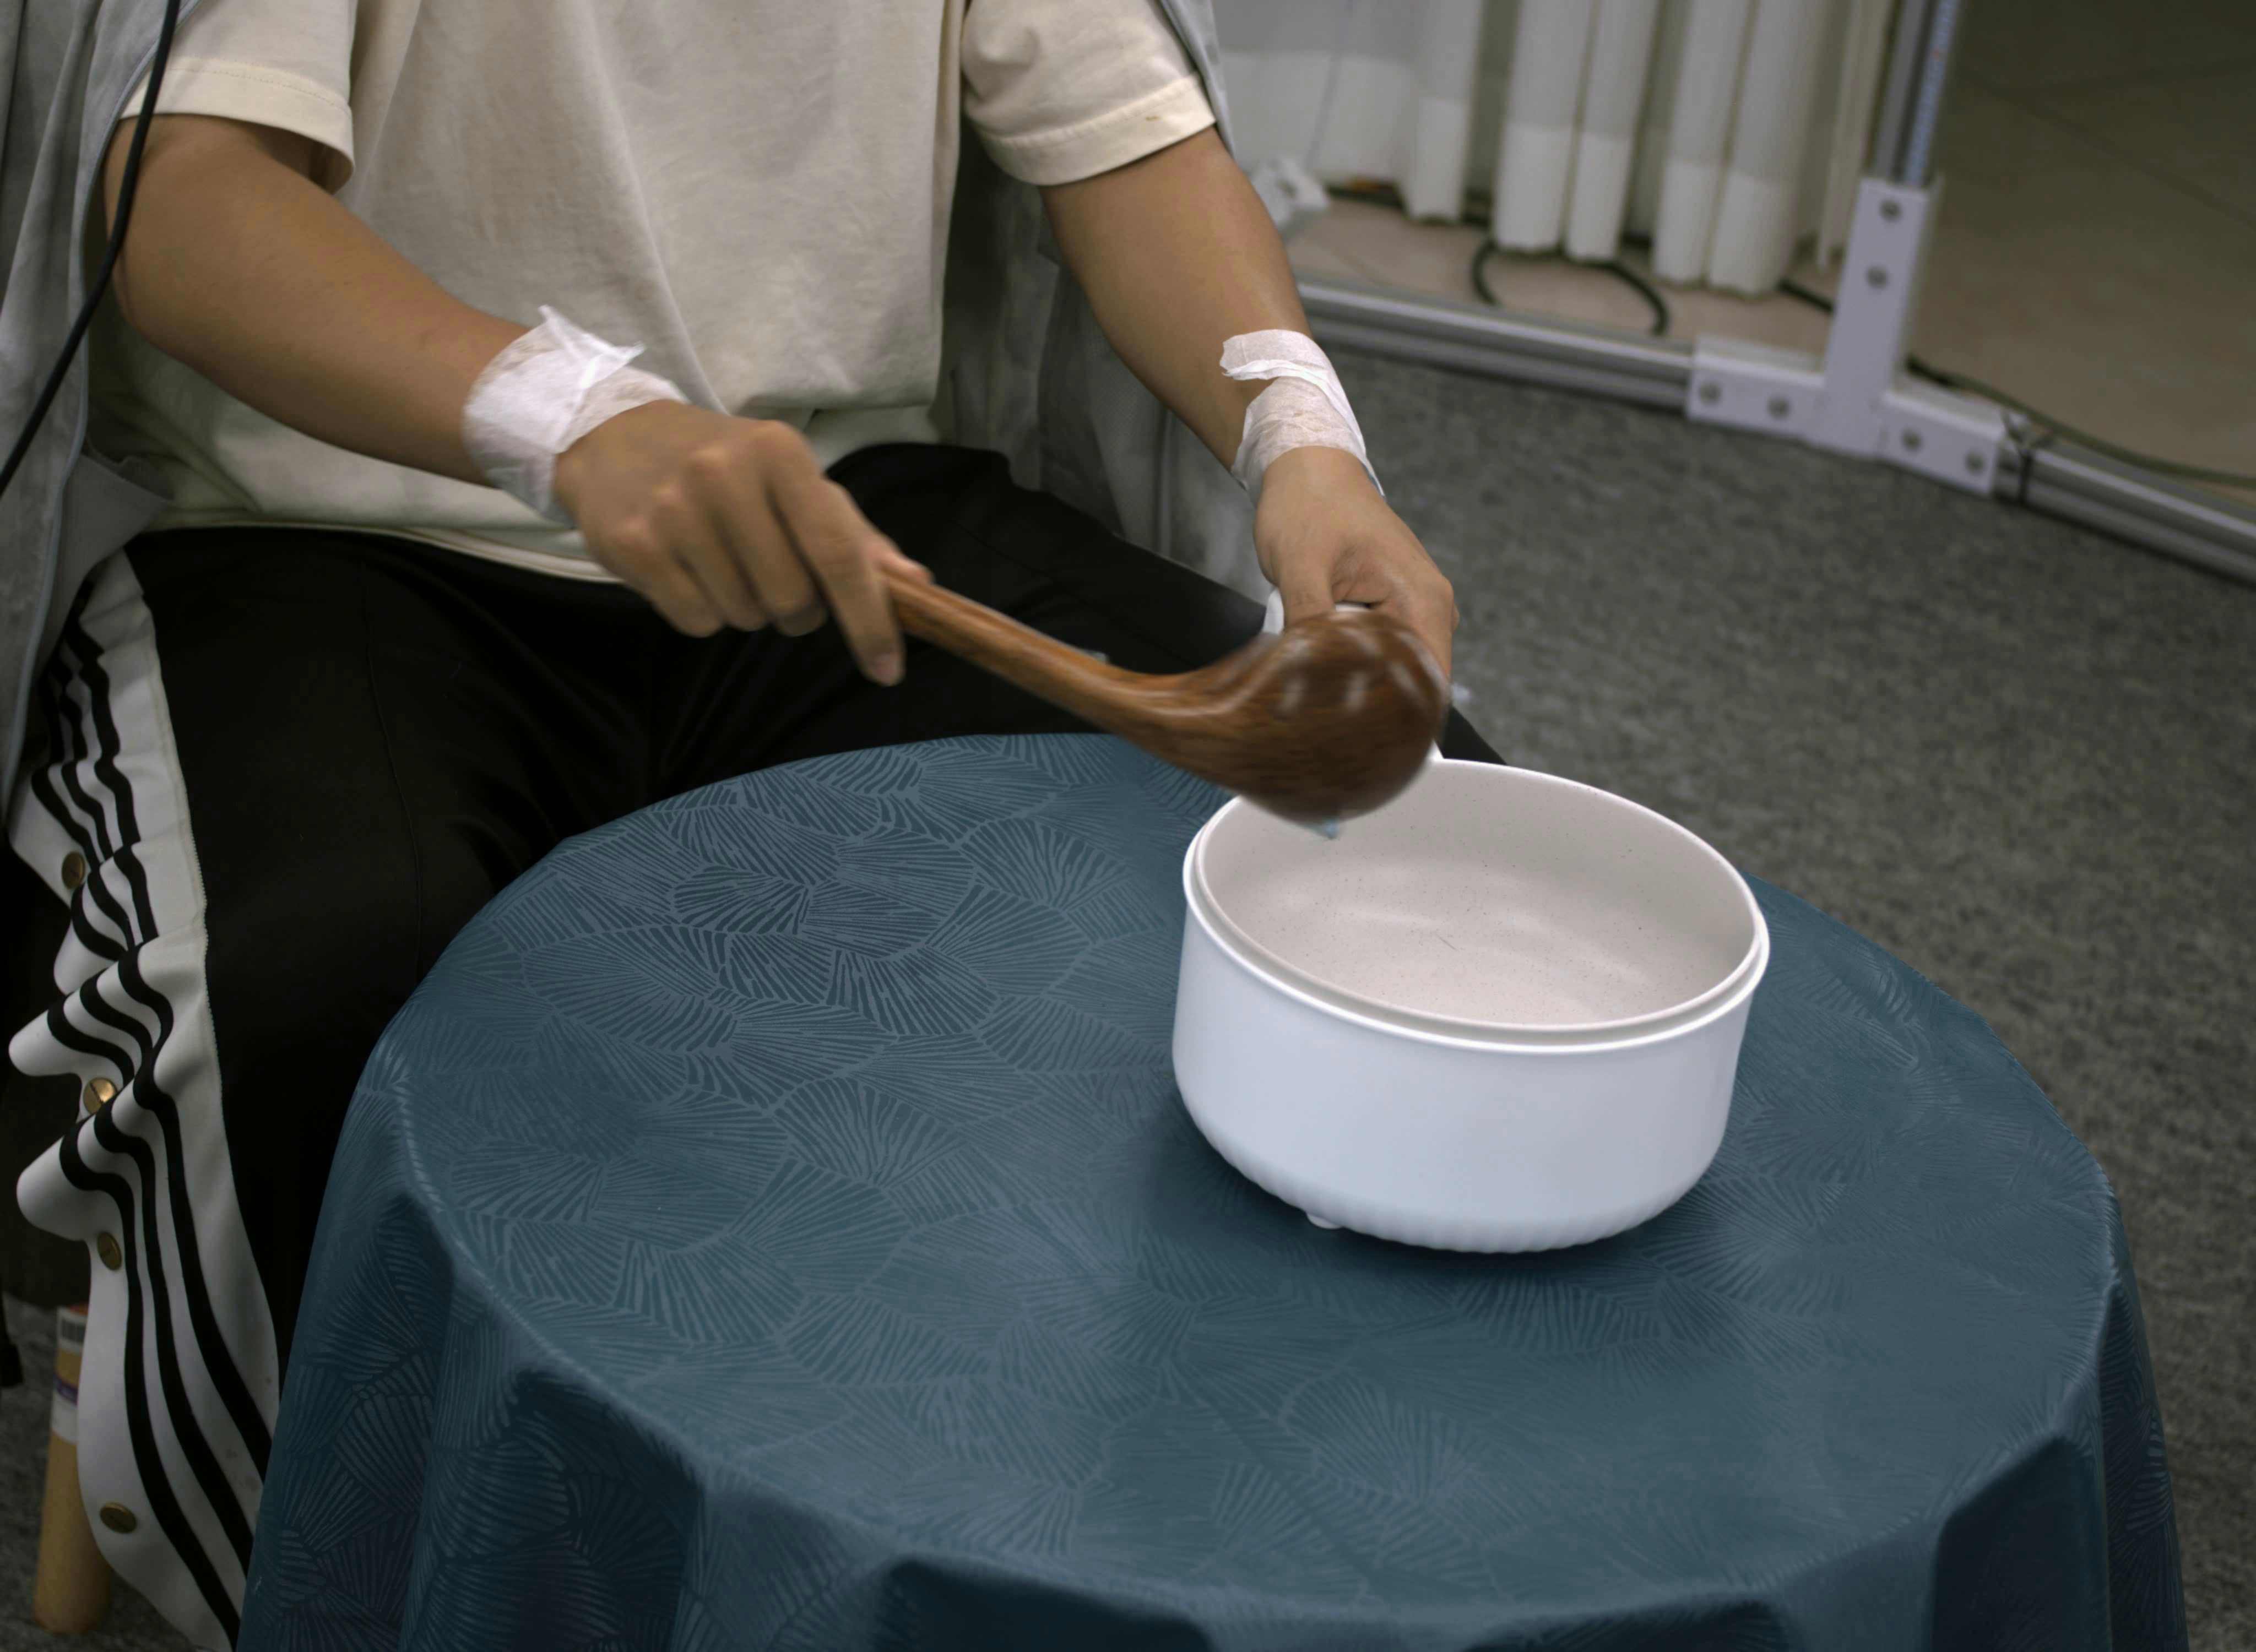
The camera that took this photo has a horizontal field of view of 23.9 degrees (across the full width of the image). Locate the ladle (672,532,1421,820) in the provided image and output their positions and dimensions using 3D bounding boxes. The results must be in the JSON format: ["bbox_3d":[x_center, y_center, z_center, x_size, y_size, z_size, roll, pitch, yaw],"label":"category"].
[{"bbox_3d":[-0.028,-0.069,1.790,0.276,0.081,0.076,20,34,33],"label":"ladle"}]

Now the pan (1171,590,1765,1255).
[{"bbox_3d":[0.100,0.031,1.902,0.200,0.102,0.357,0,27,-11],"label":"pan"}]
